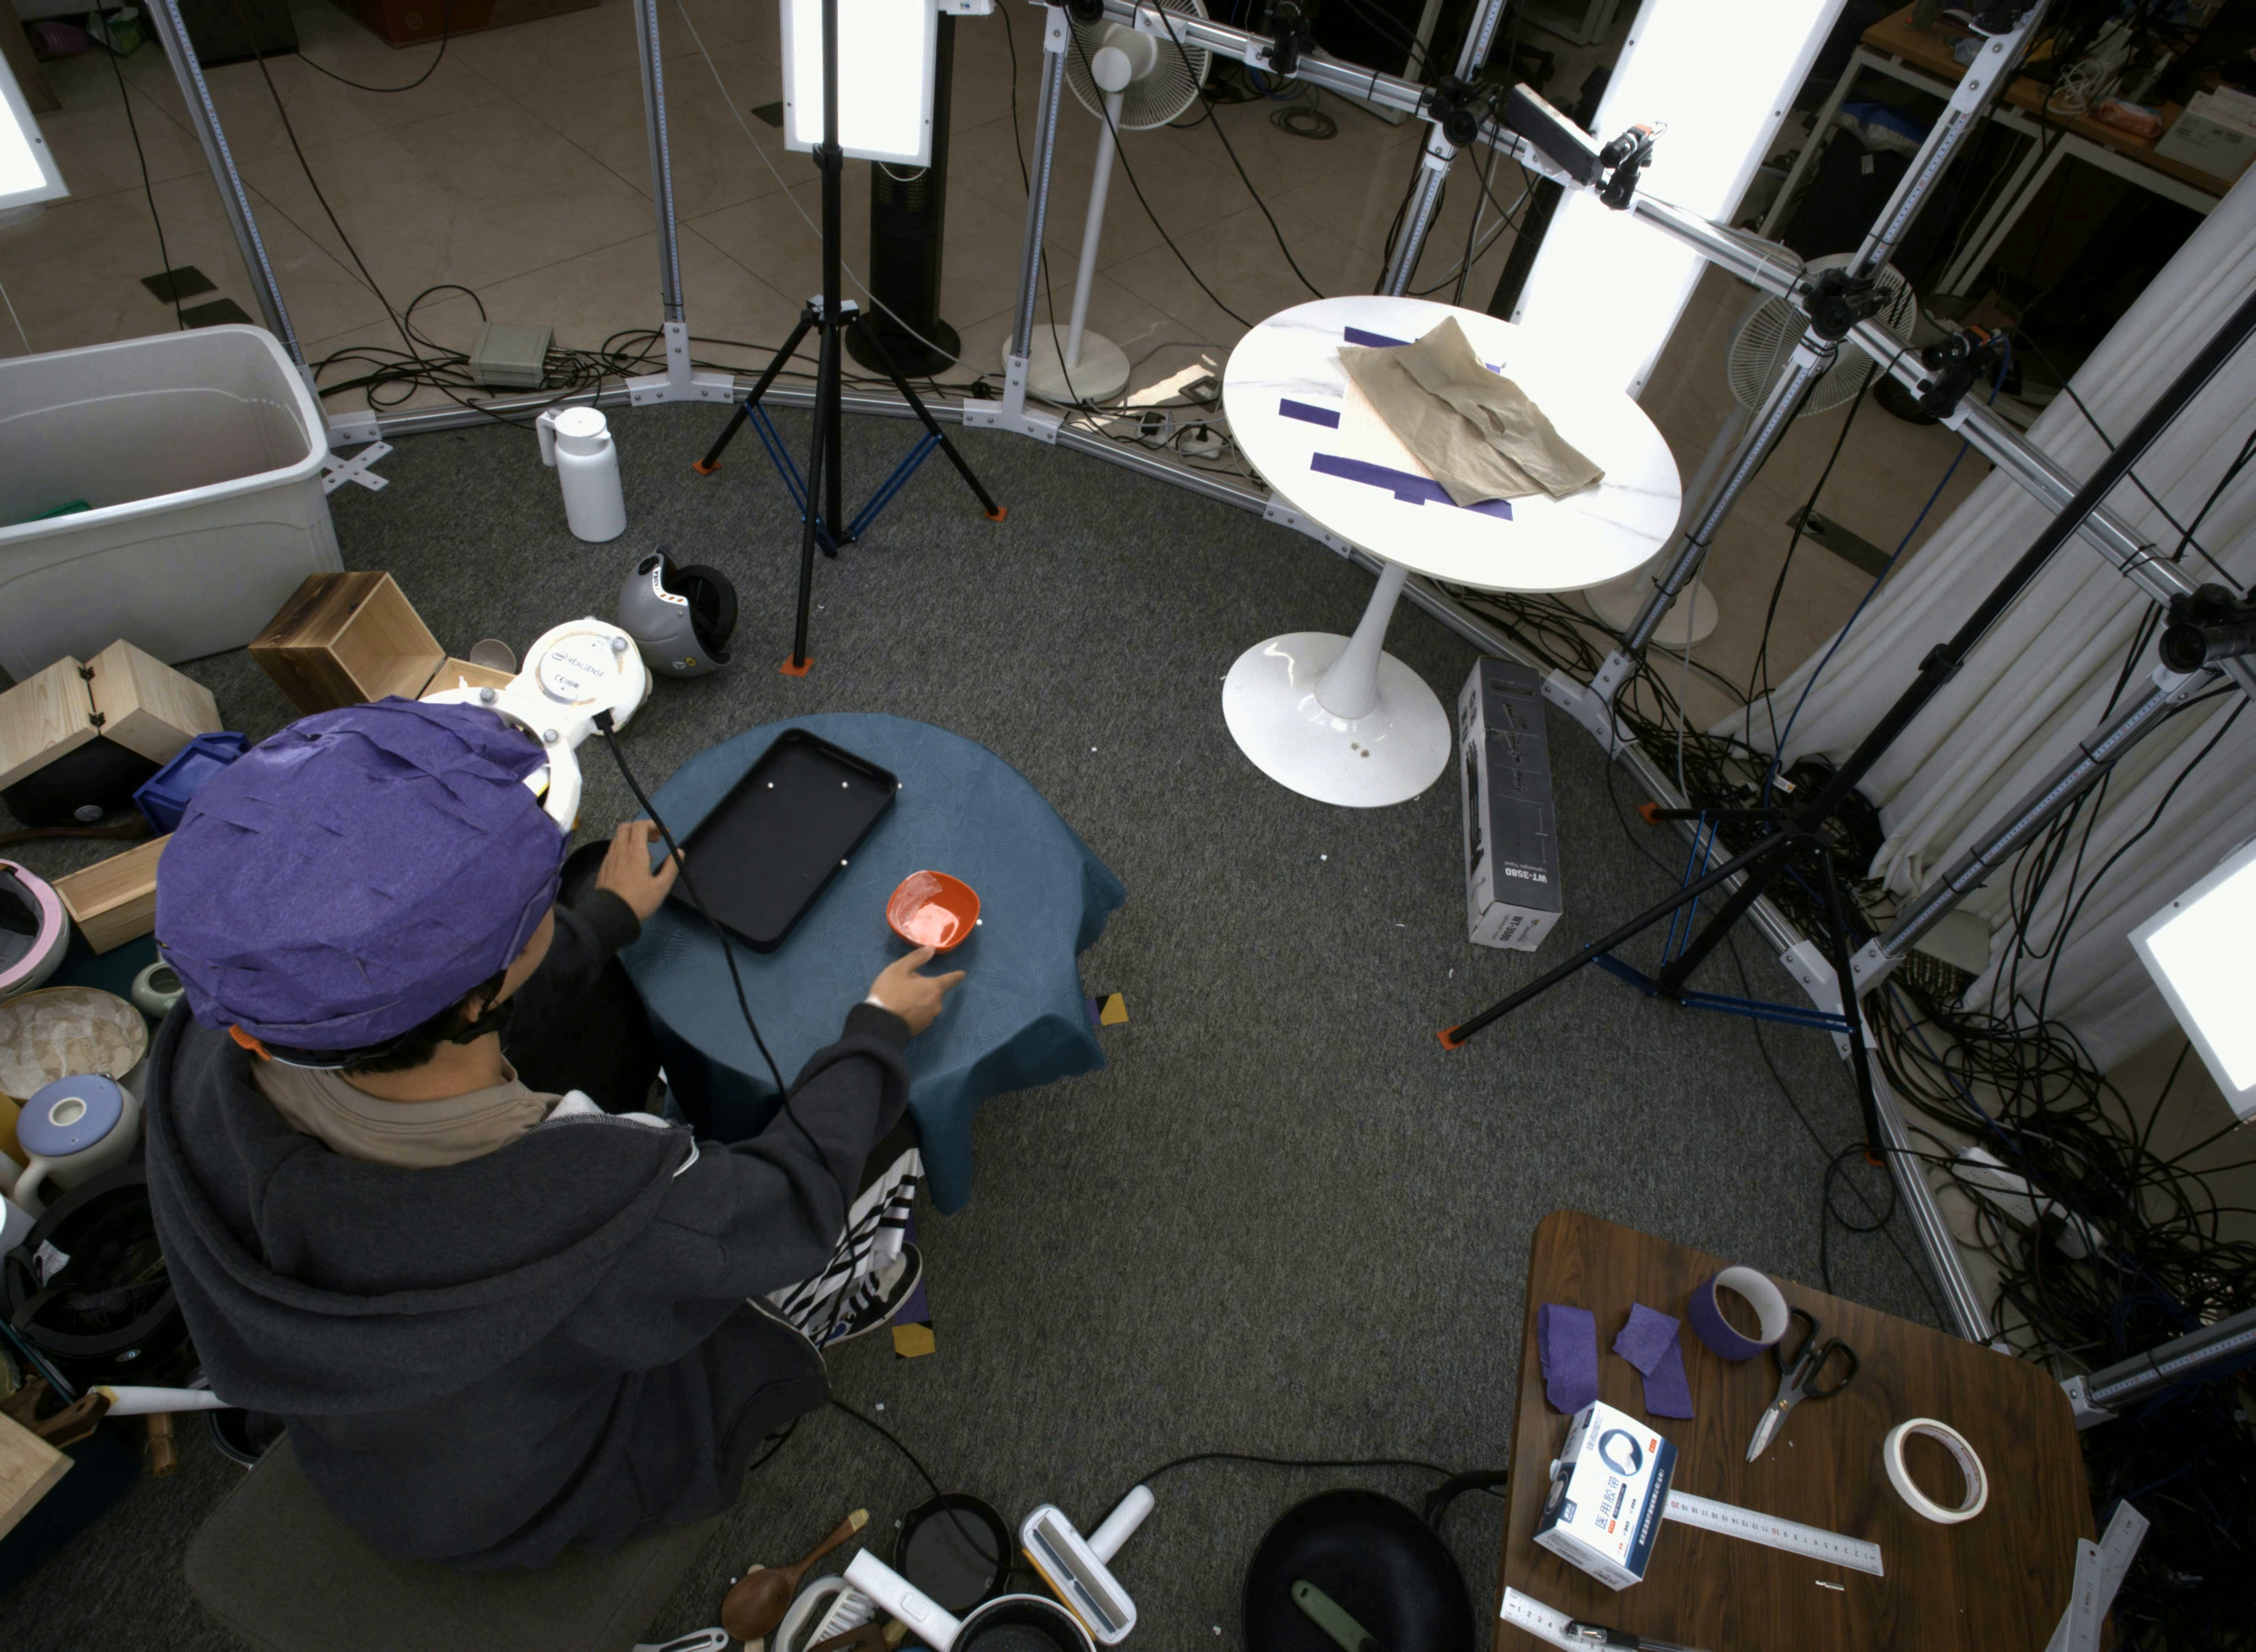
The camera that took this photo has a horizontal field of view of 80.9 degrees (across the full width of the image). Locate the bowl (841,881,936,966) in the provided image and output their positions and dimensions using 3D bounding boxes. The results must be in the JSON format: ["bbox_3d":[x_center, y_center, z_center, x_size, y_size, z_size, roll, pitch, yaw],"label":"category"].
[{"bbox_3d":[-0.301,0.129,1.629,0.119,0.052,0.117,9,50,-9],"label":"bowl"}]

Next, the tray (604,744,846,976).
[{"bbox_3d":[-0.511,0.035,1.655,0.182,0.038,0.315,24,51,4],"label":"tray"}]
